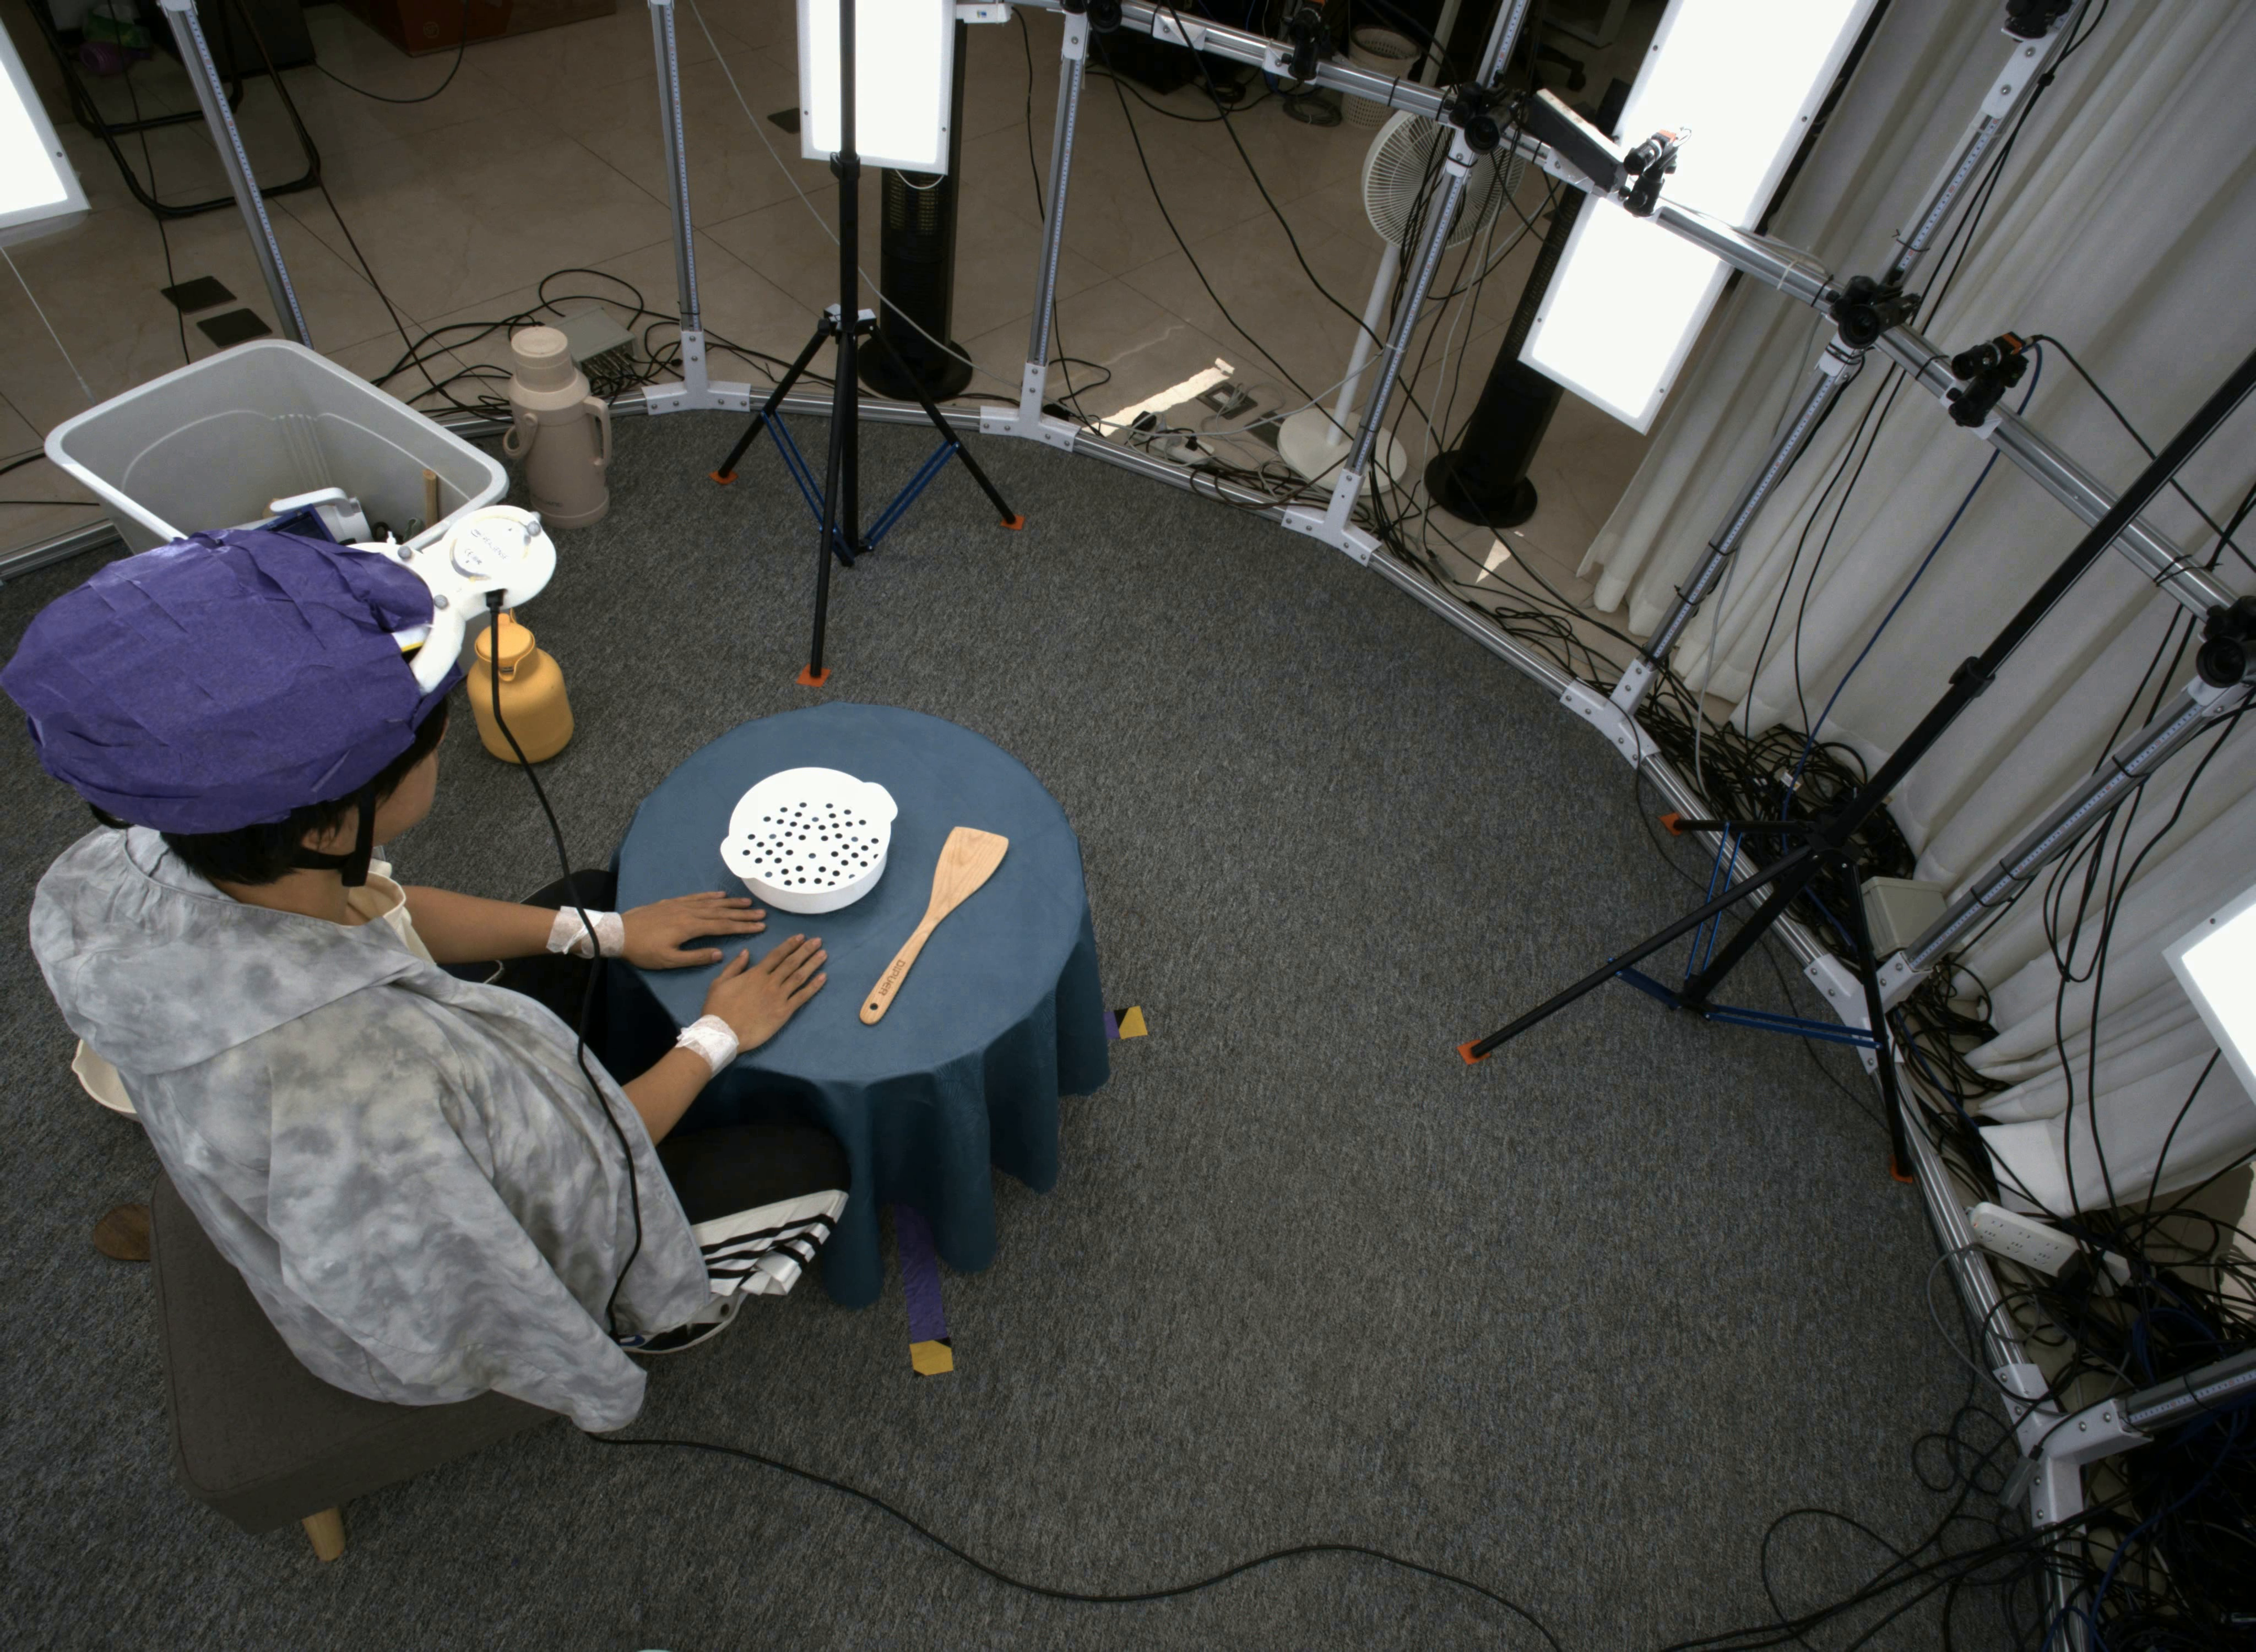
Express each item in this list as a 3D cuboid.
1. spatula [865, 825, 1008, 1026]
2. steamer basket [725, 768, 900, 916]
[{"bbox_3d":[-0.253,0.120,1.669,0.079,0.017,0.325,23,53,5],"label":"spatula"},{"bbox_3d":[-0.403,0.020,1.675,0.231,0.071,0.196,-25,61,-27],"label":"steamer basket"}]
